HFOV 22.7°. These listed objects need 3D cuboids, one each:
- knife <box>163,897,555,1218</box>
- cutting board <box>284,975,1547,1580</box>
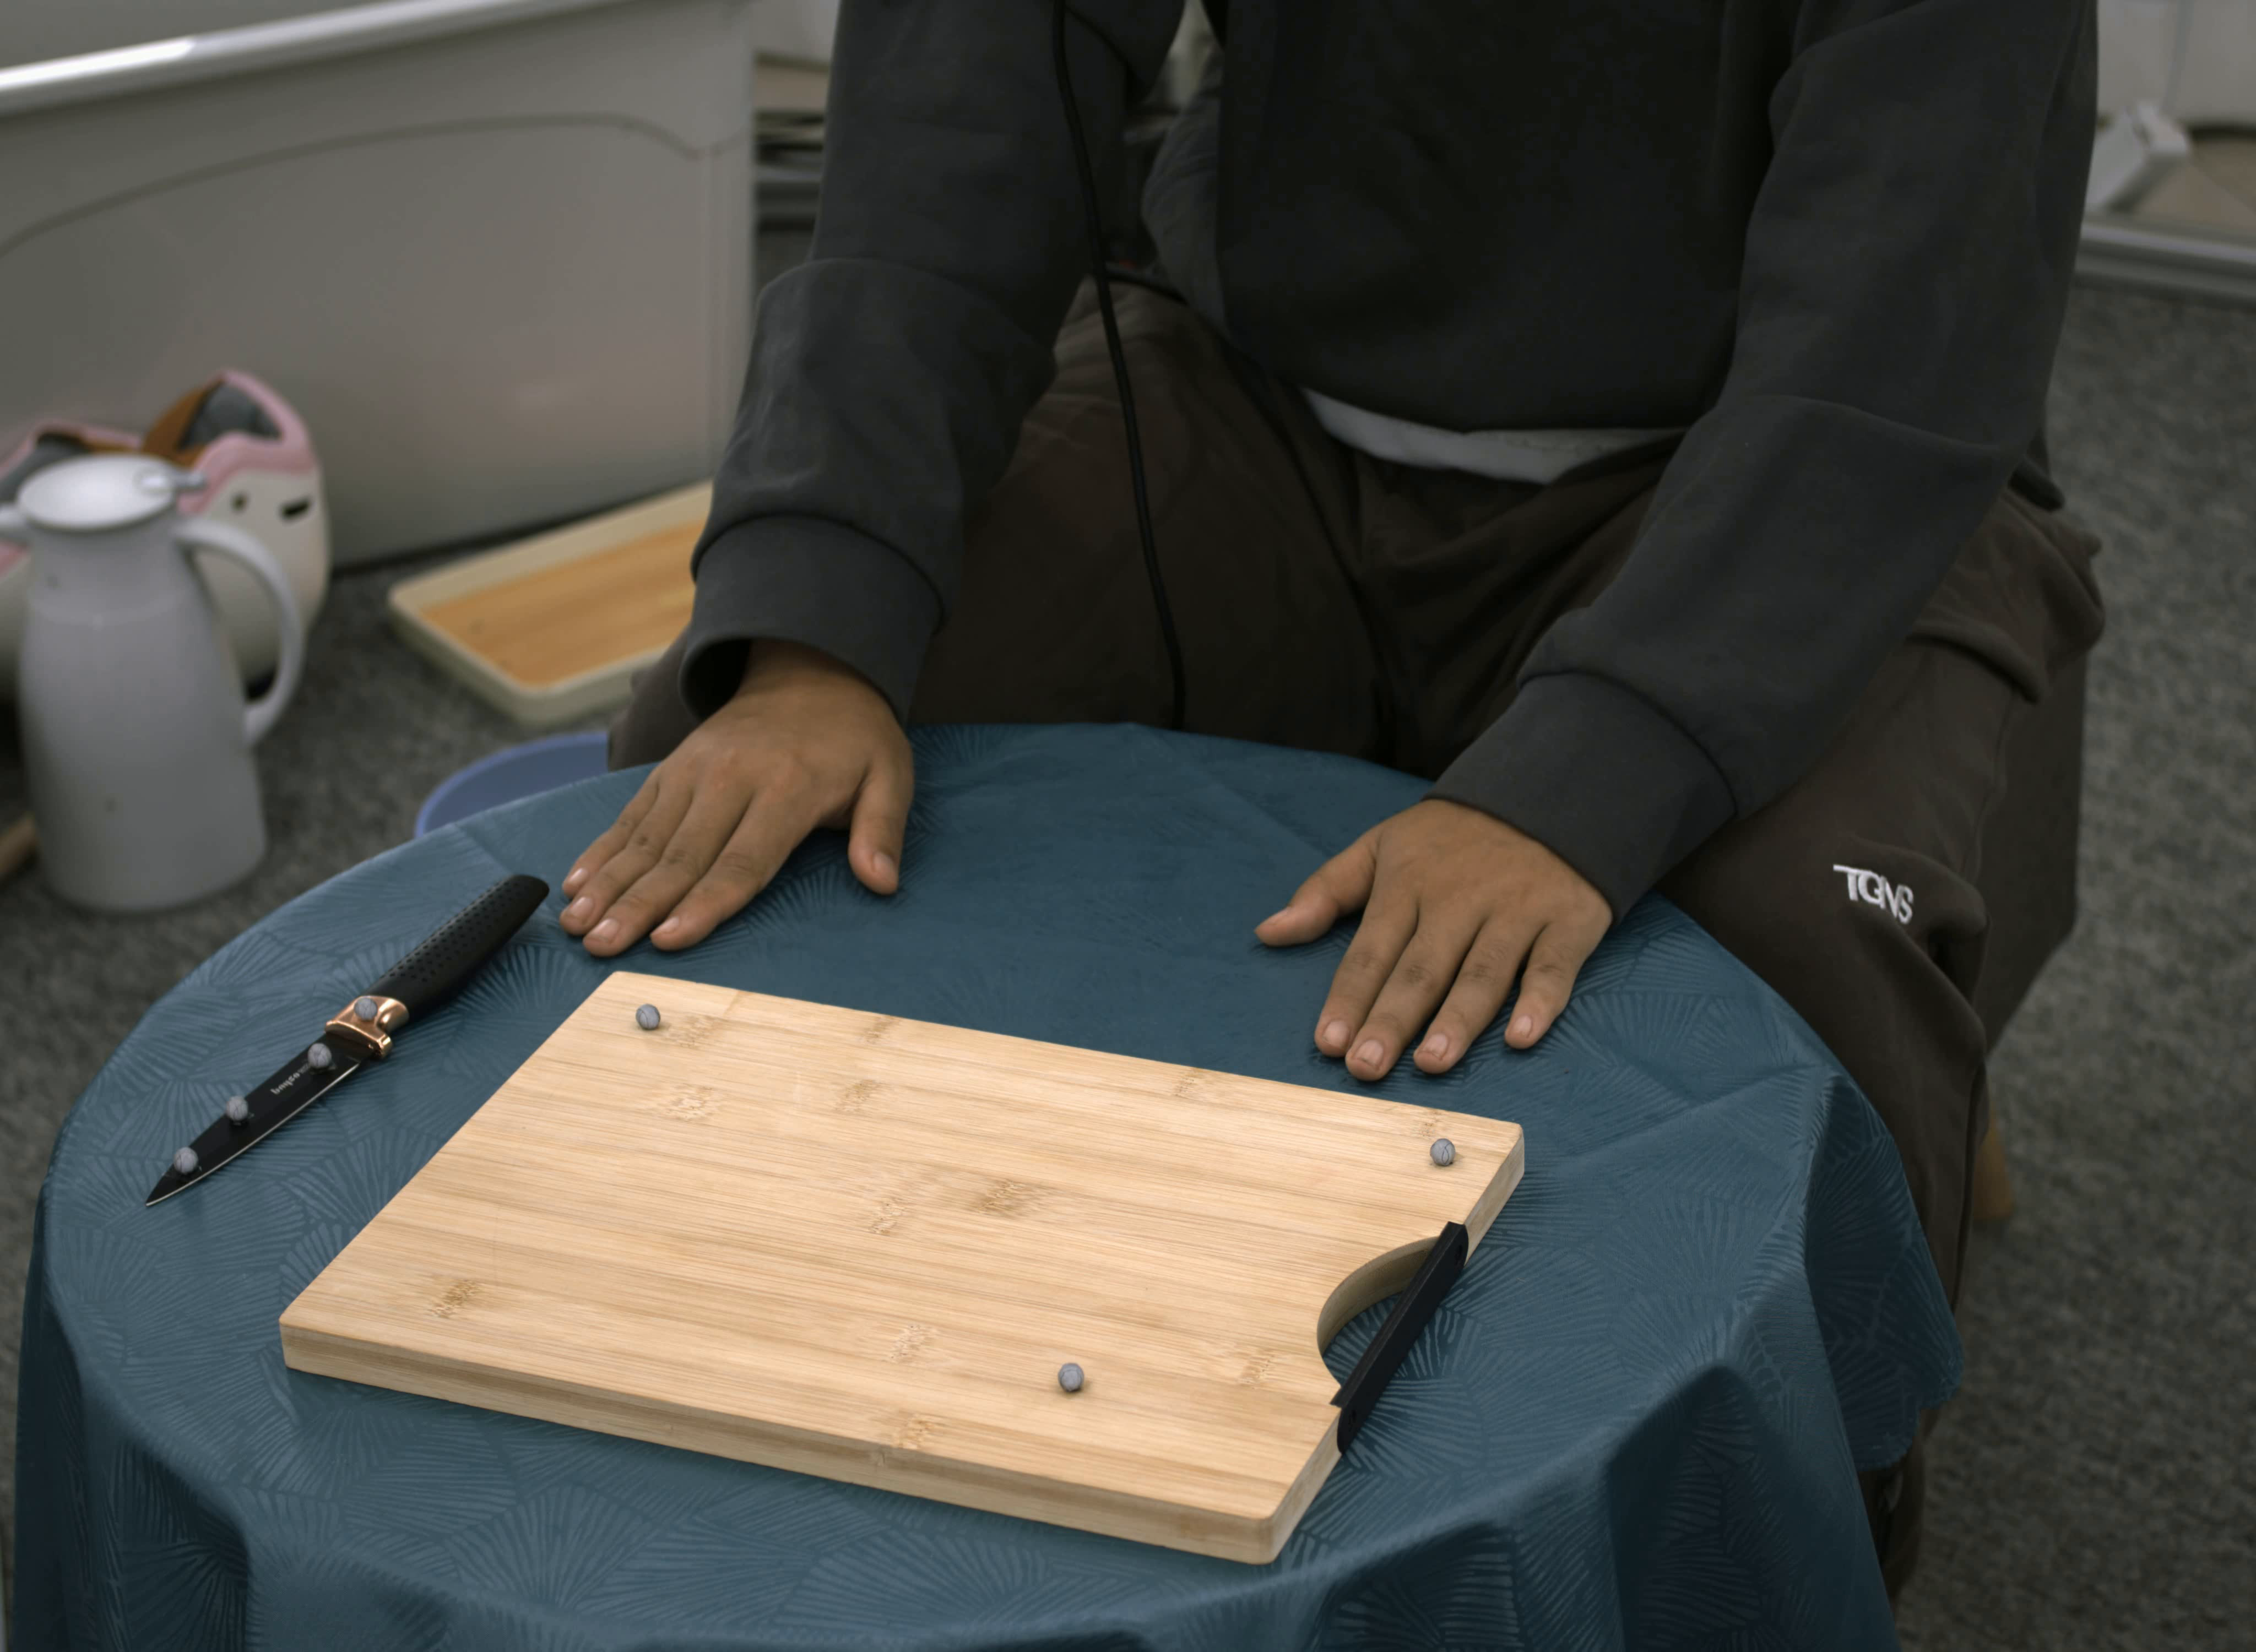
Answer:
[{"bbox_3d":[-0.269,0.080,1.958,0.026,0.017,0.229,18,34,24],"label":"knife"},{"bbox_3d":[-0.065,0.138,1.821,0.346,0.023,0.255,8,29,20],"label":"cutting board"}]
